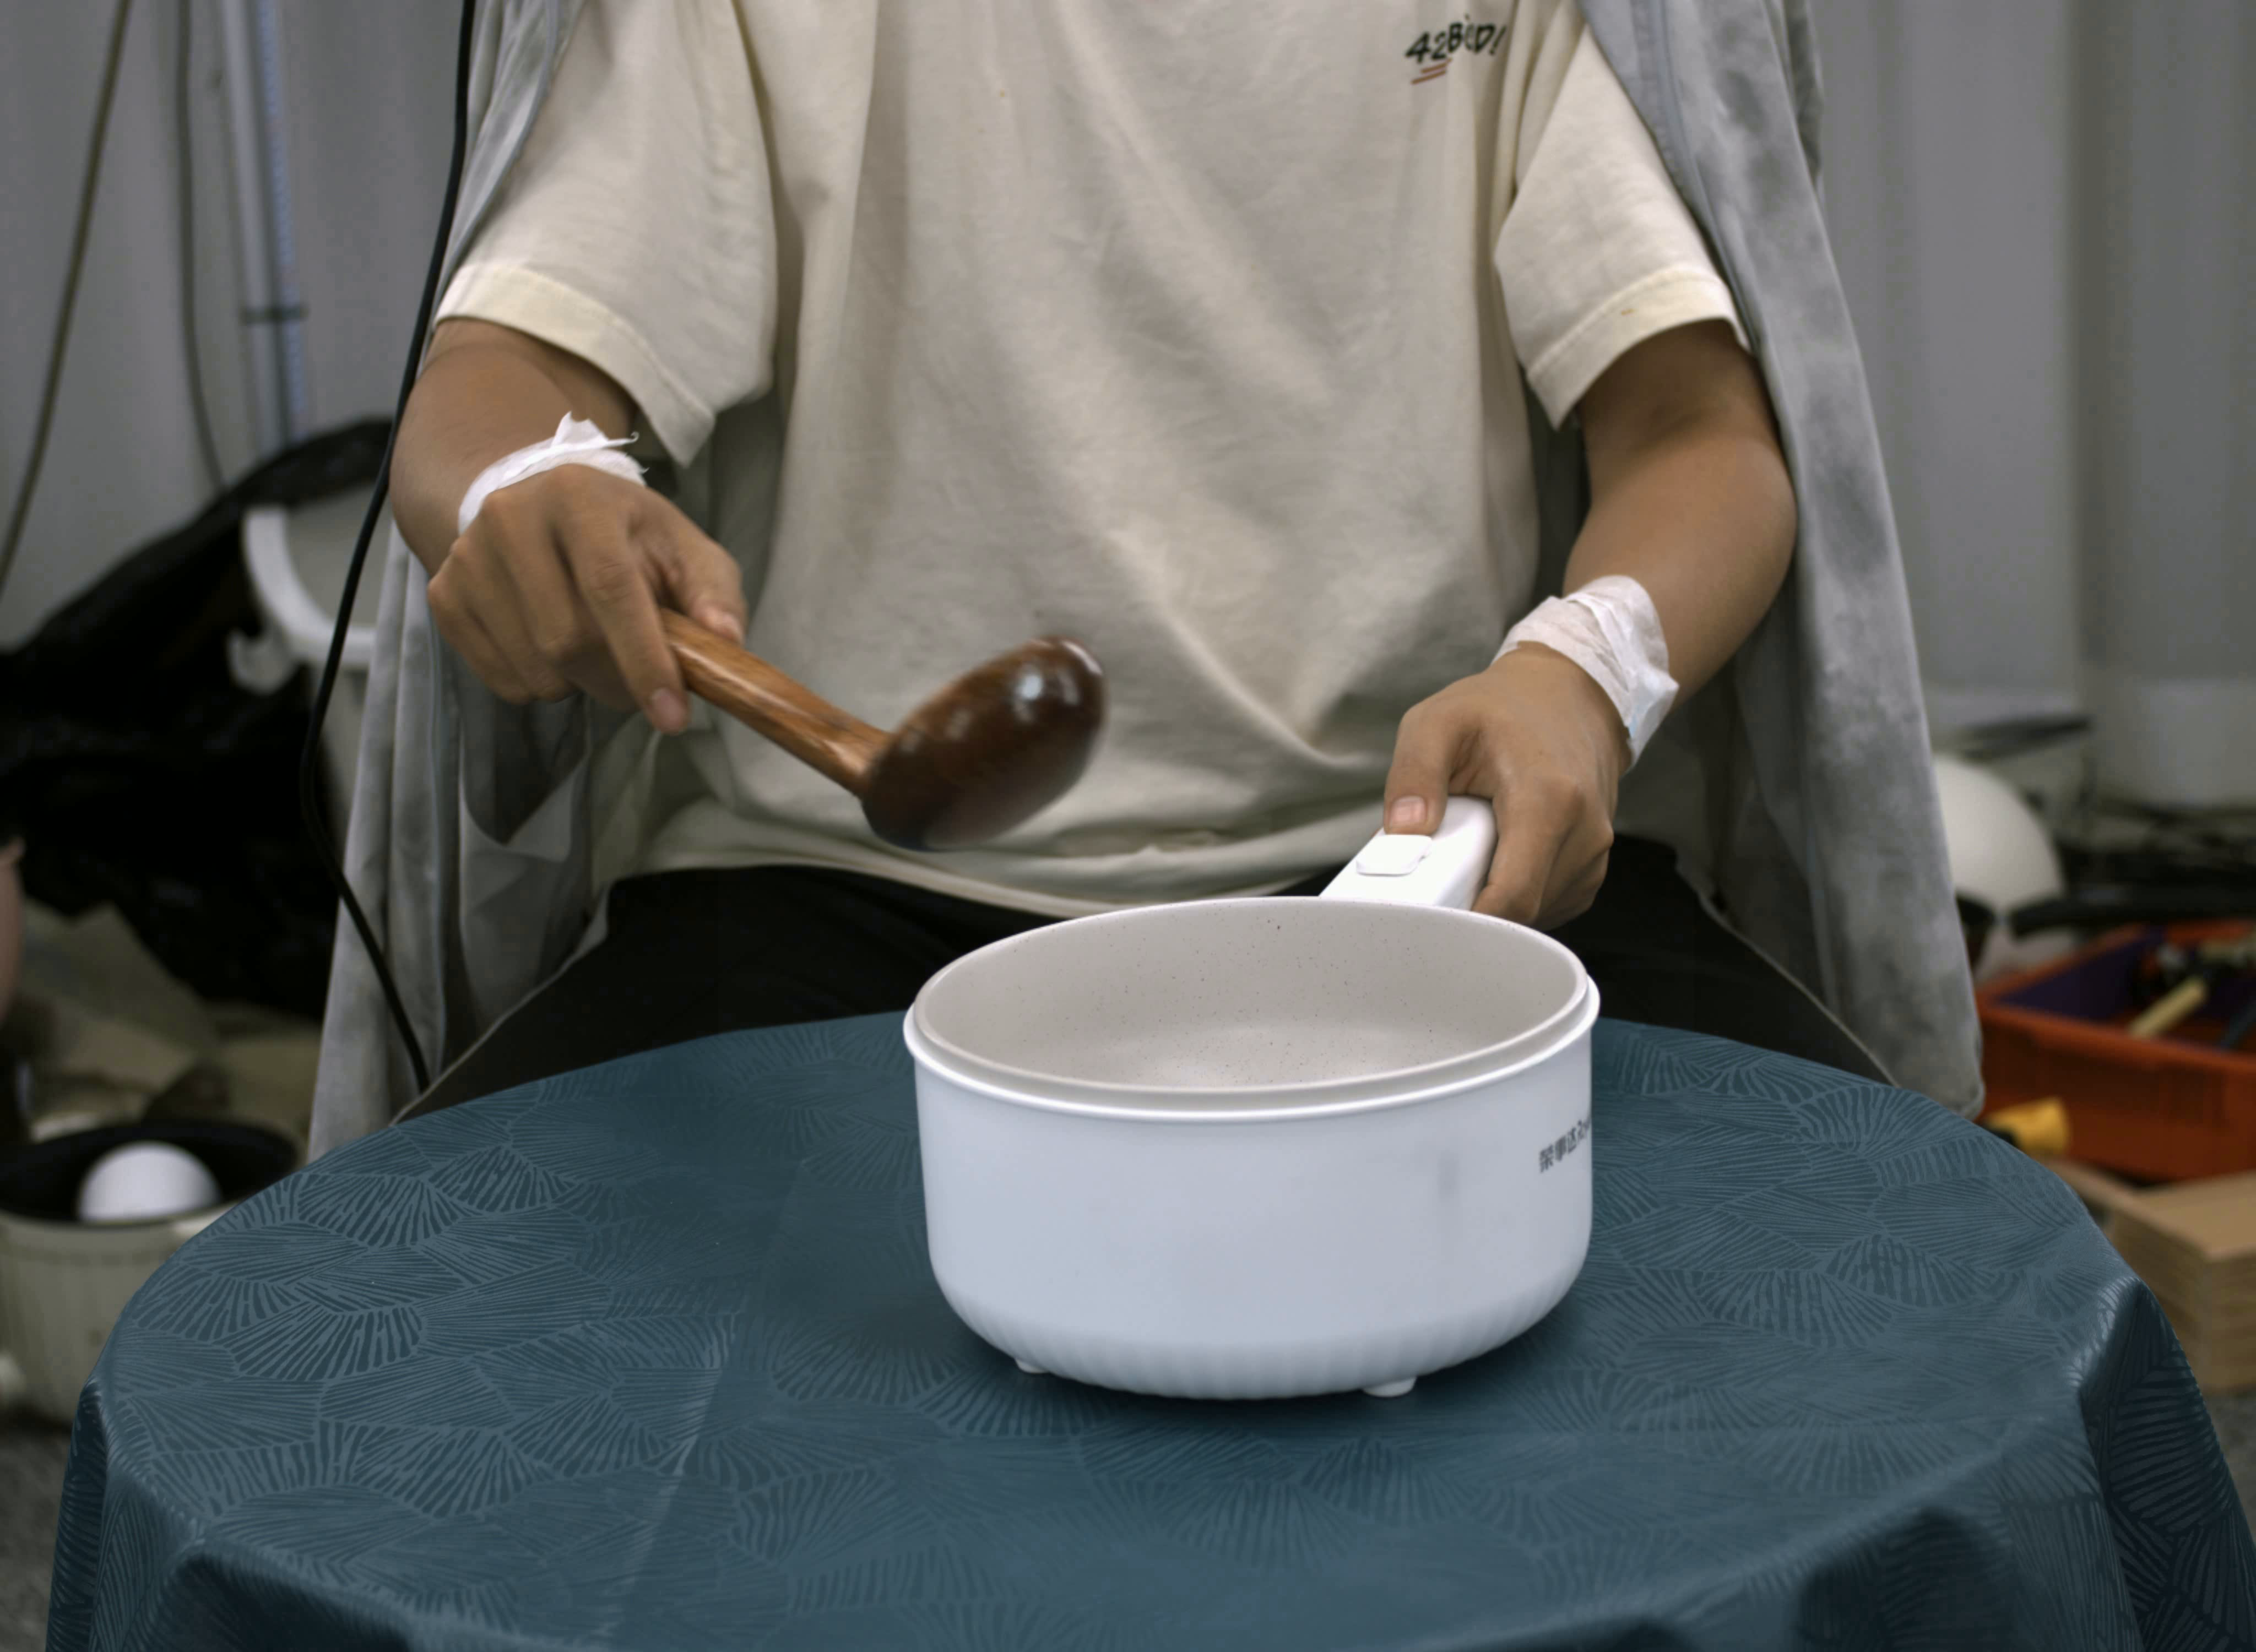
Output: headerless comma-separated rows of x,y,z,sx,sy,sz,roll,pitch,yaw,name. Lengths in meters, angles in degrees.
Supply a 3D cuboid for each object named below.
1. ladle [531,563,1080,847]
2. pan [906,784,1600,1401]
-0.110,-0.059,1.621,0.082,0.076,0.277,-17,29,-30,ladle
0.062,0.076,1.660,0.201,0.102,0.356,2,15,19,pan
